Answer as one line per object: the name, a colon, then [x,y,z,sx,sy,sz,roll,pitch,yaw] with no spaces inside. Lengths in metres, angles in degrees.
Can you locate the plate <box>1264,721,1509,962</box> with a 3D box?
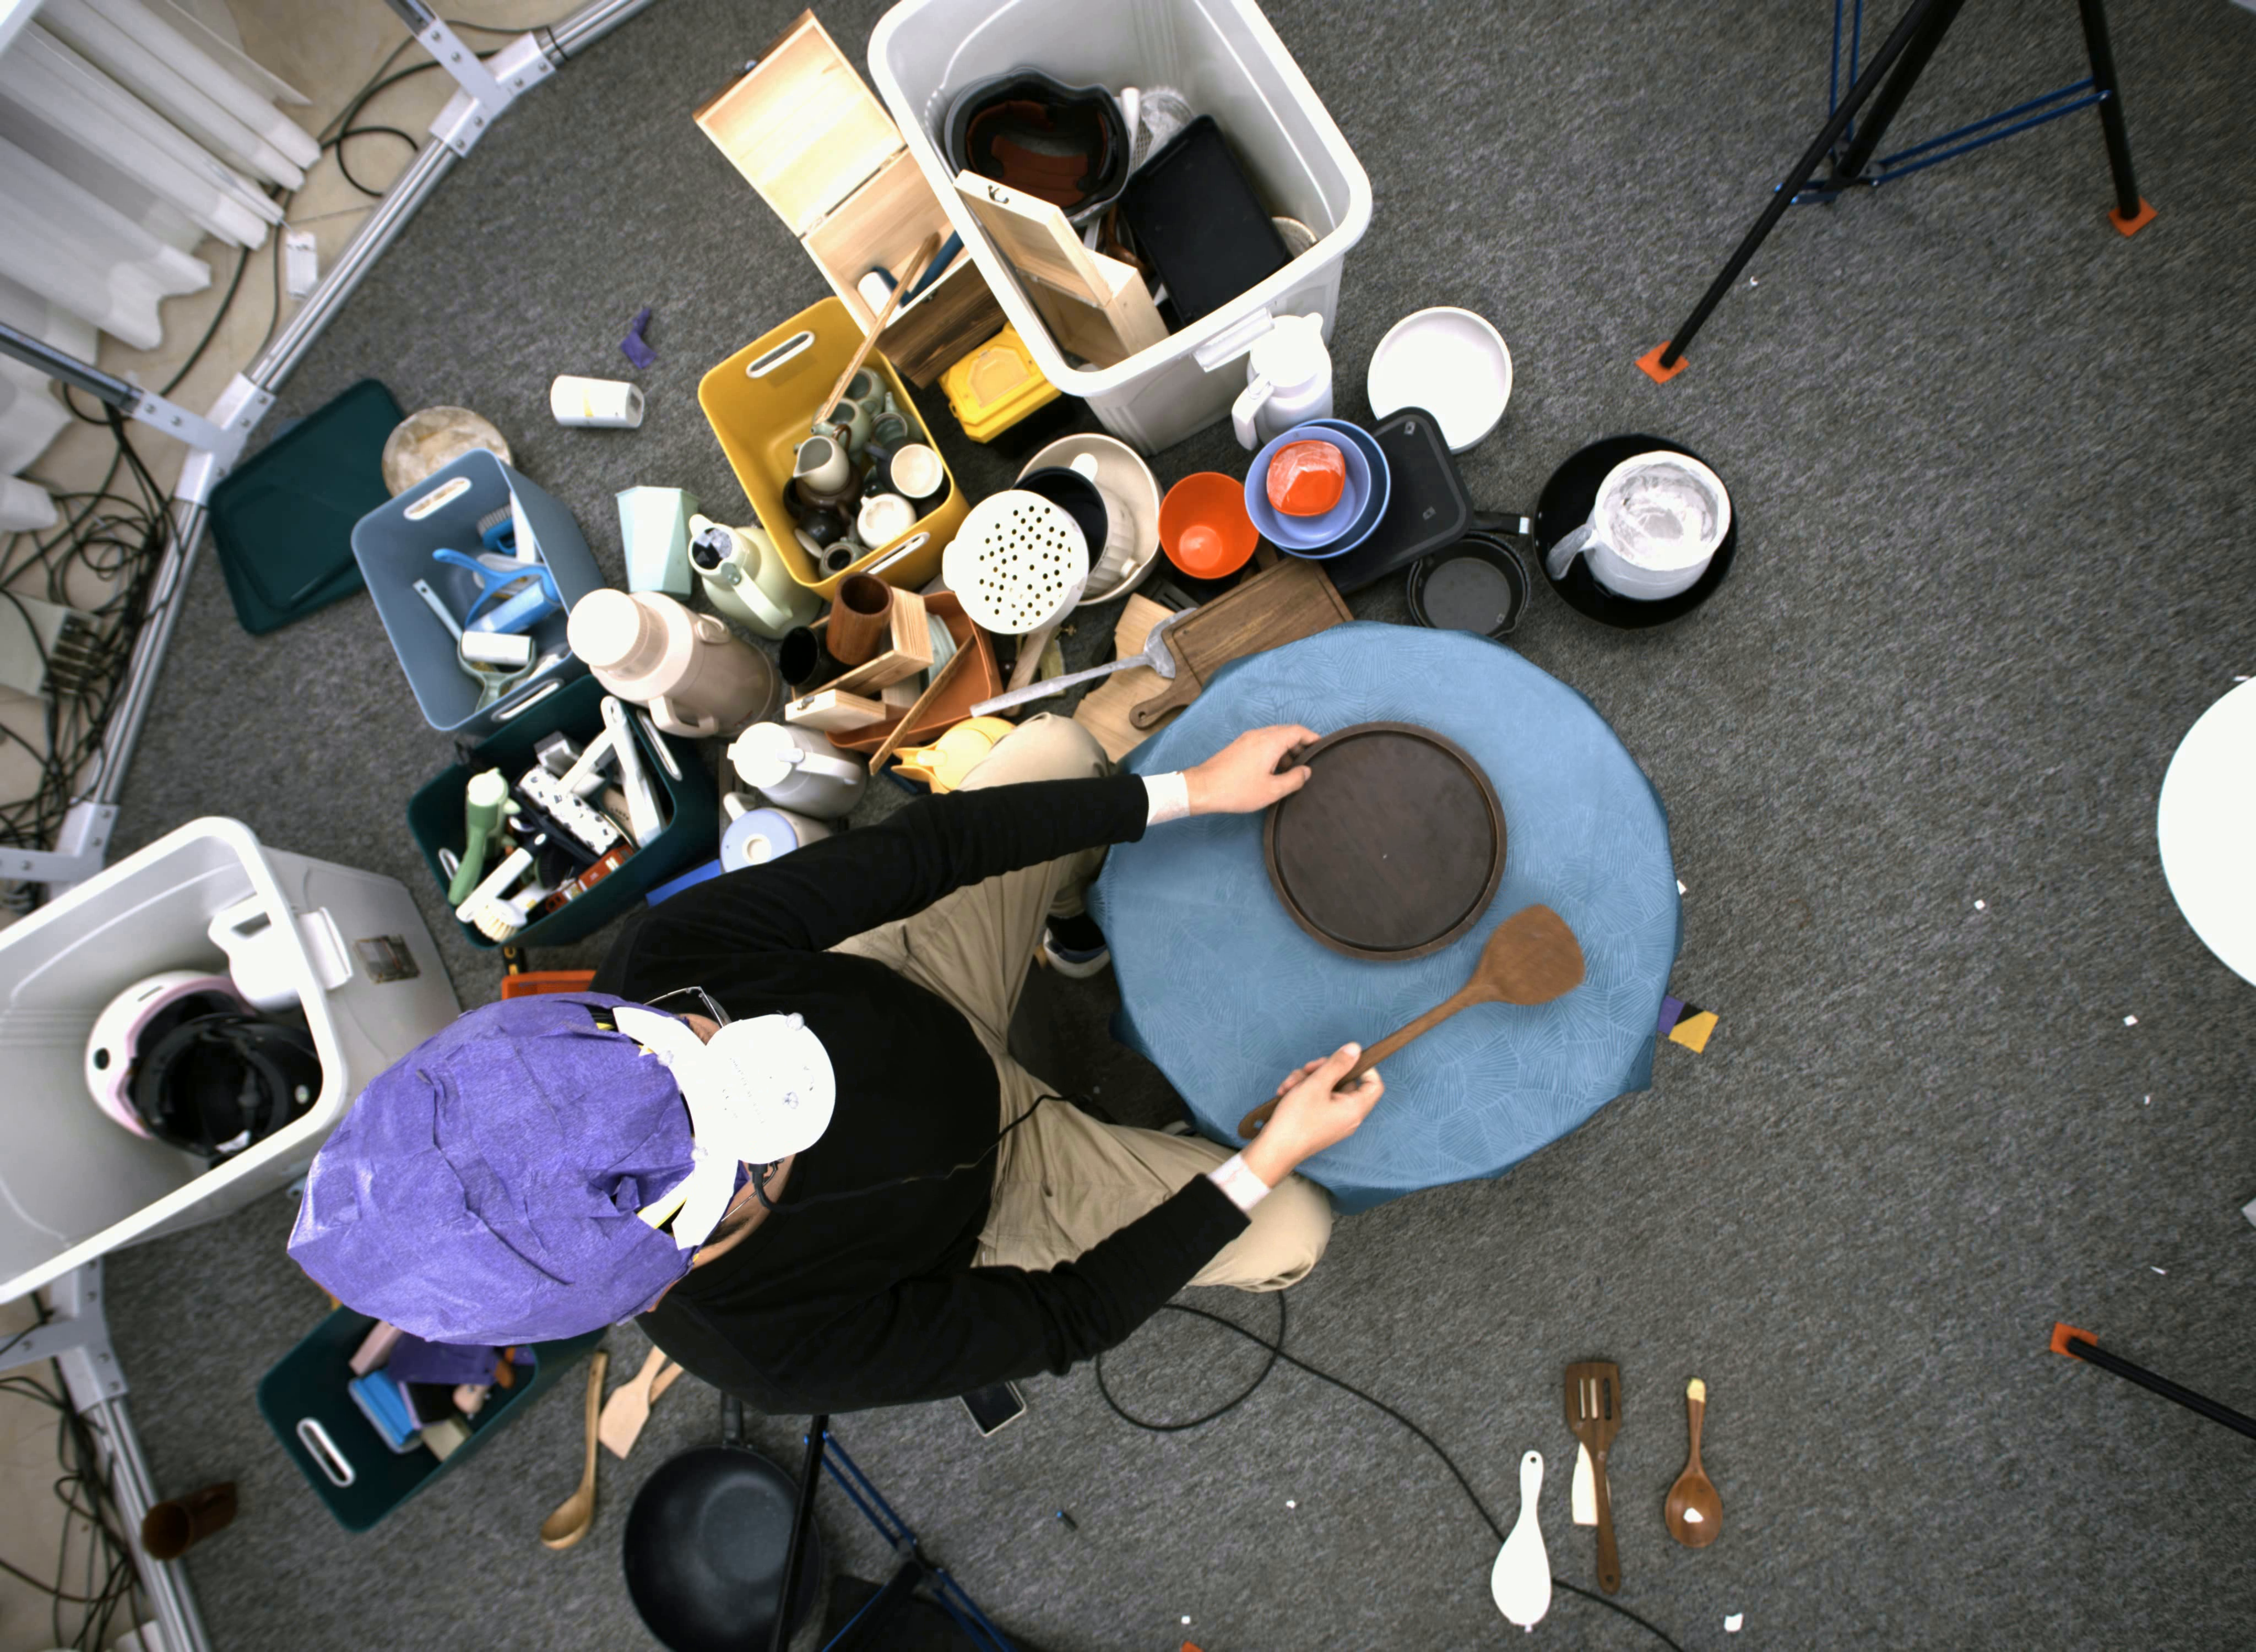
plate: [0.269,0.015,1.444,0.255,0.029,0.254,0,90,7]

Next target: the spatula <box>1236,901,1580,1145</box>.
spatula: [0.271,0.207,1.373,0.388,0.015,0.096,-34,94,6]
